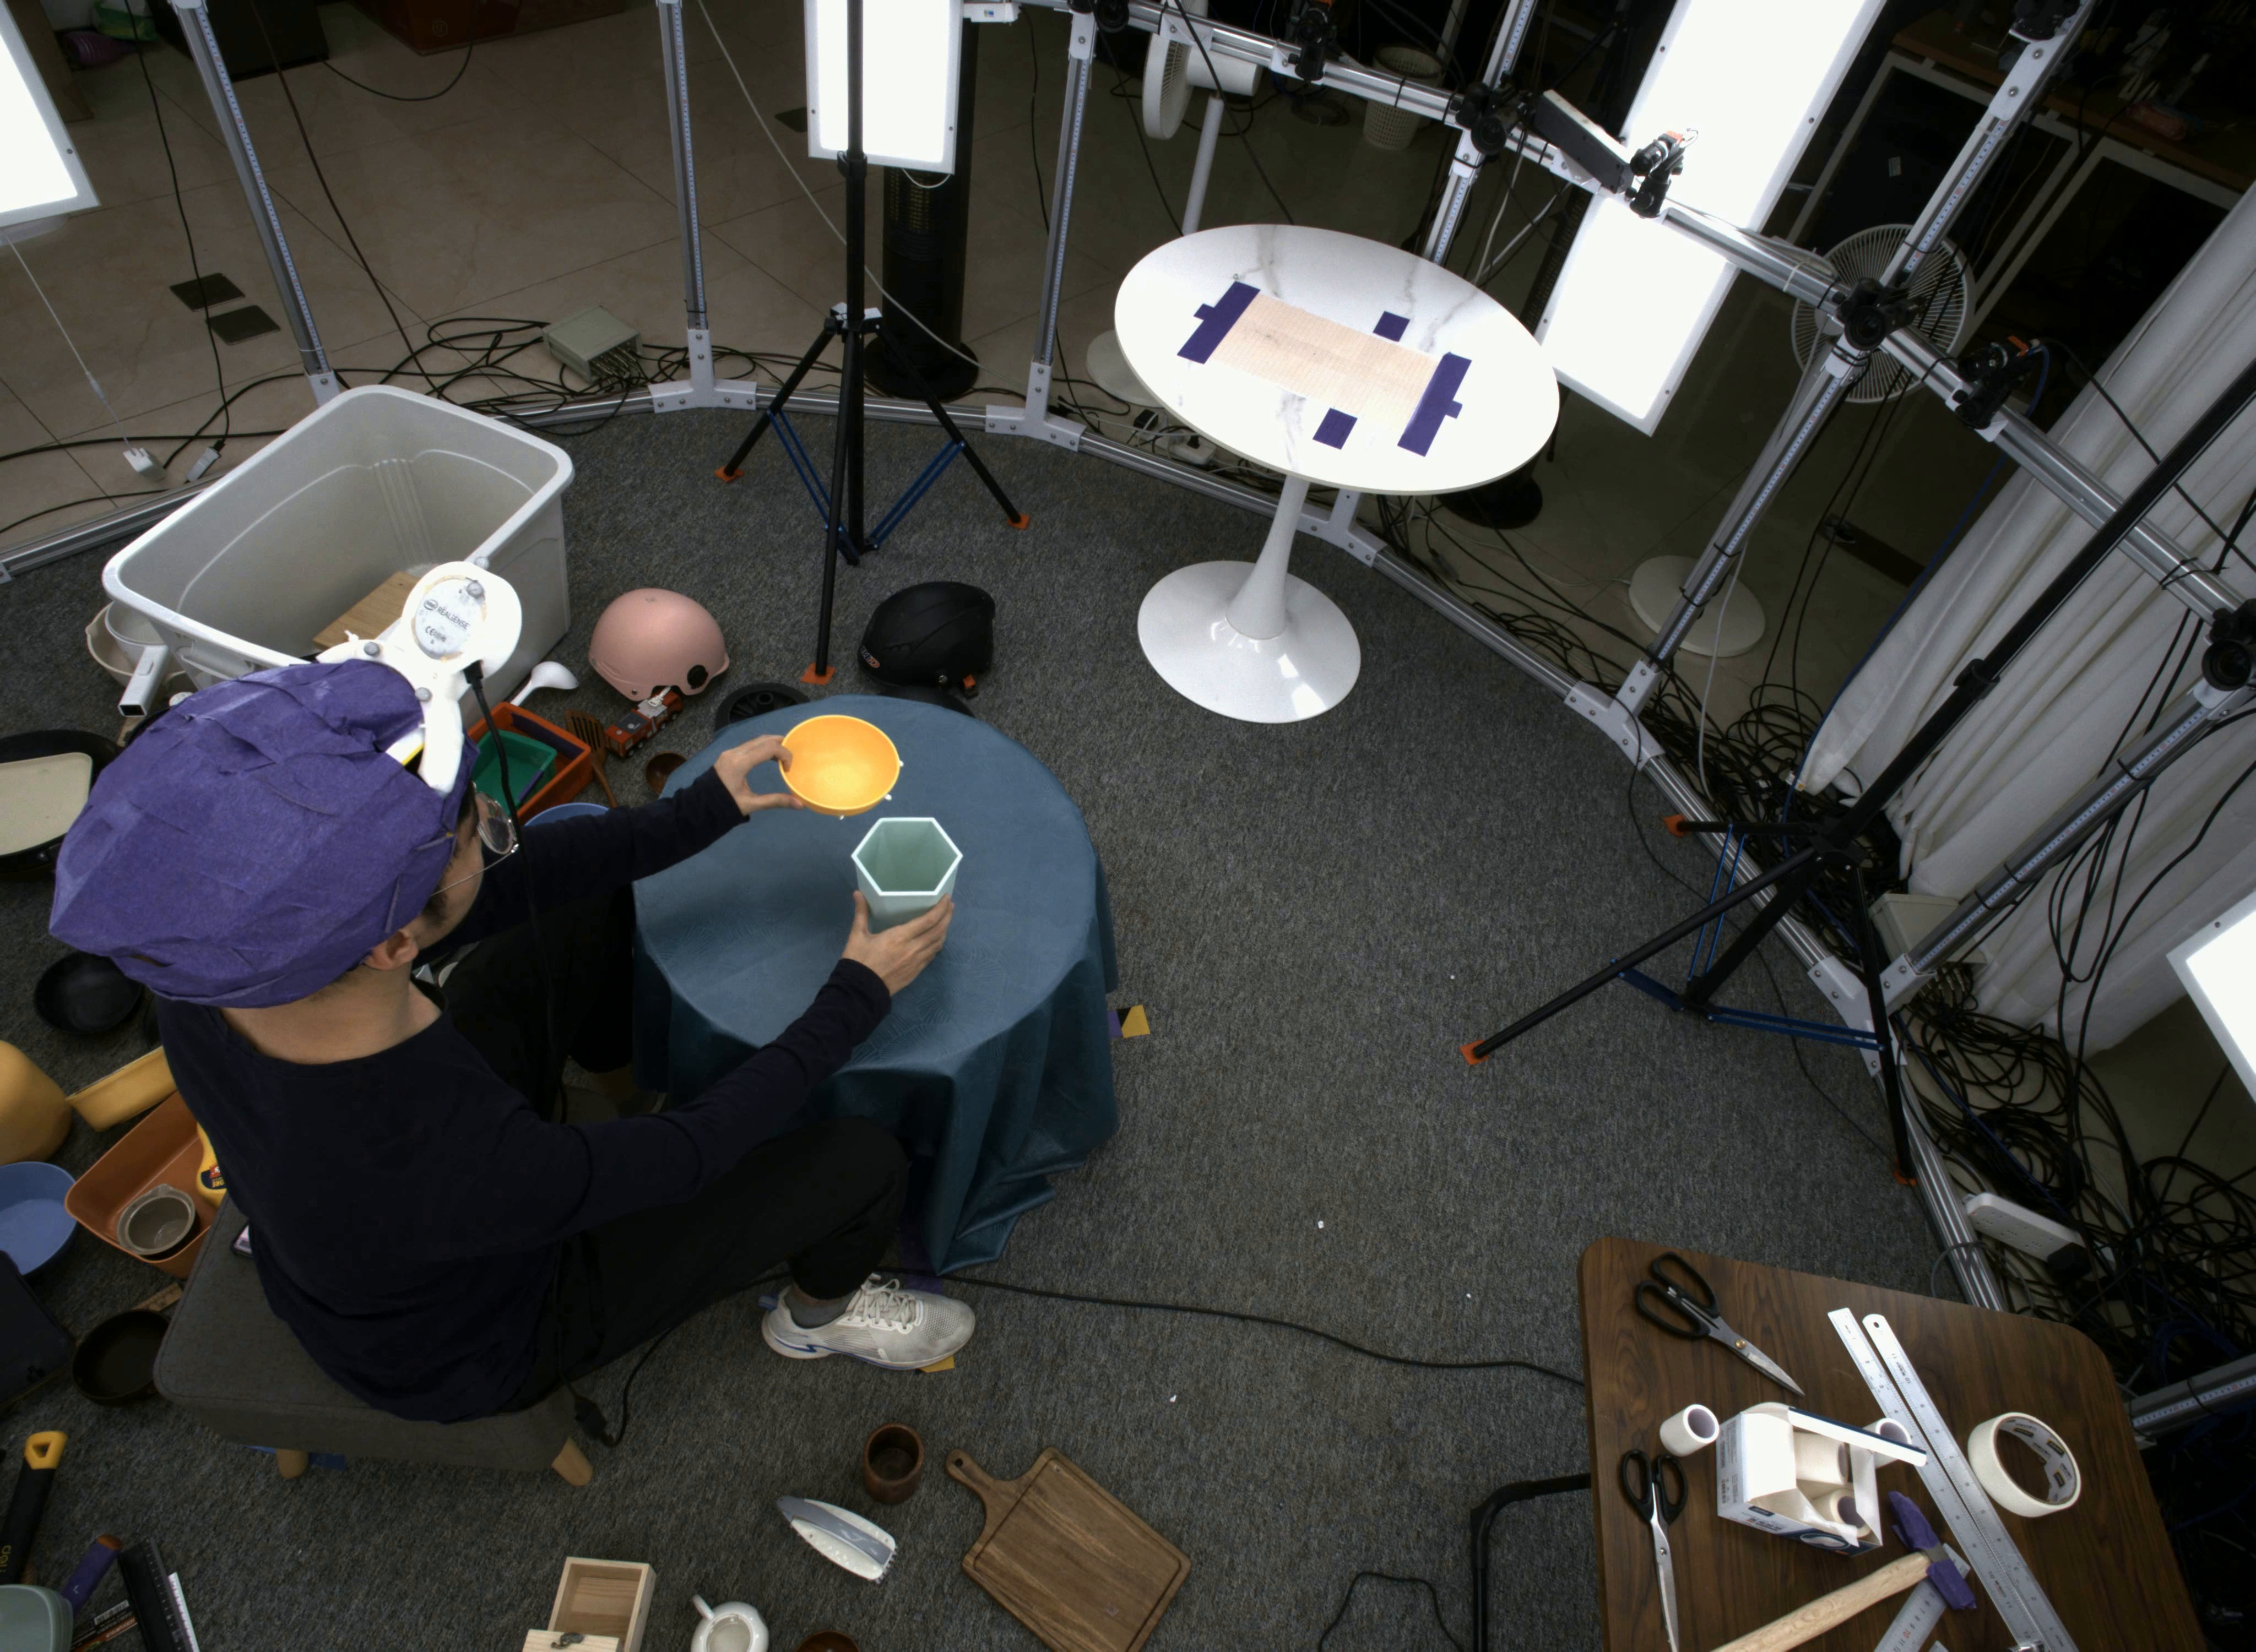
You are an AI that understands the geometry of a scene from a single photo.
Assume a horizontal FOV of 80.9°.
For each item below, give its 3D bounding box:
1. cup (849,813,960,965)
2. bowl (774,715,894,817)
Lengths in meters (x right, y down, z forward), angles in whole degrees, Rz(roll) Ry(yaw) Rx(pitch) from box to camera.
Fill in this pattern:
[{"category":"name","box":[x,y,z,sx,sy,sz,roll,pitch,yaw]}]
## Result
[{"category":"cup","box":[-0.273,0.079,1.597,0.115,0.167,0.127,-30,62,-29]},{"category":"bowl","box":[-0.358,-0.063,1.580,0.145,0.061,0.143,9,53,-10]}]
